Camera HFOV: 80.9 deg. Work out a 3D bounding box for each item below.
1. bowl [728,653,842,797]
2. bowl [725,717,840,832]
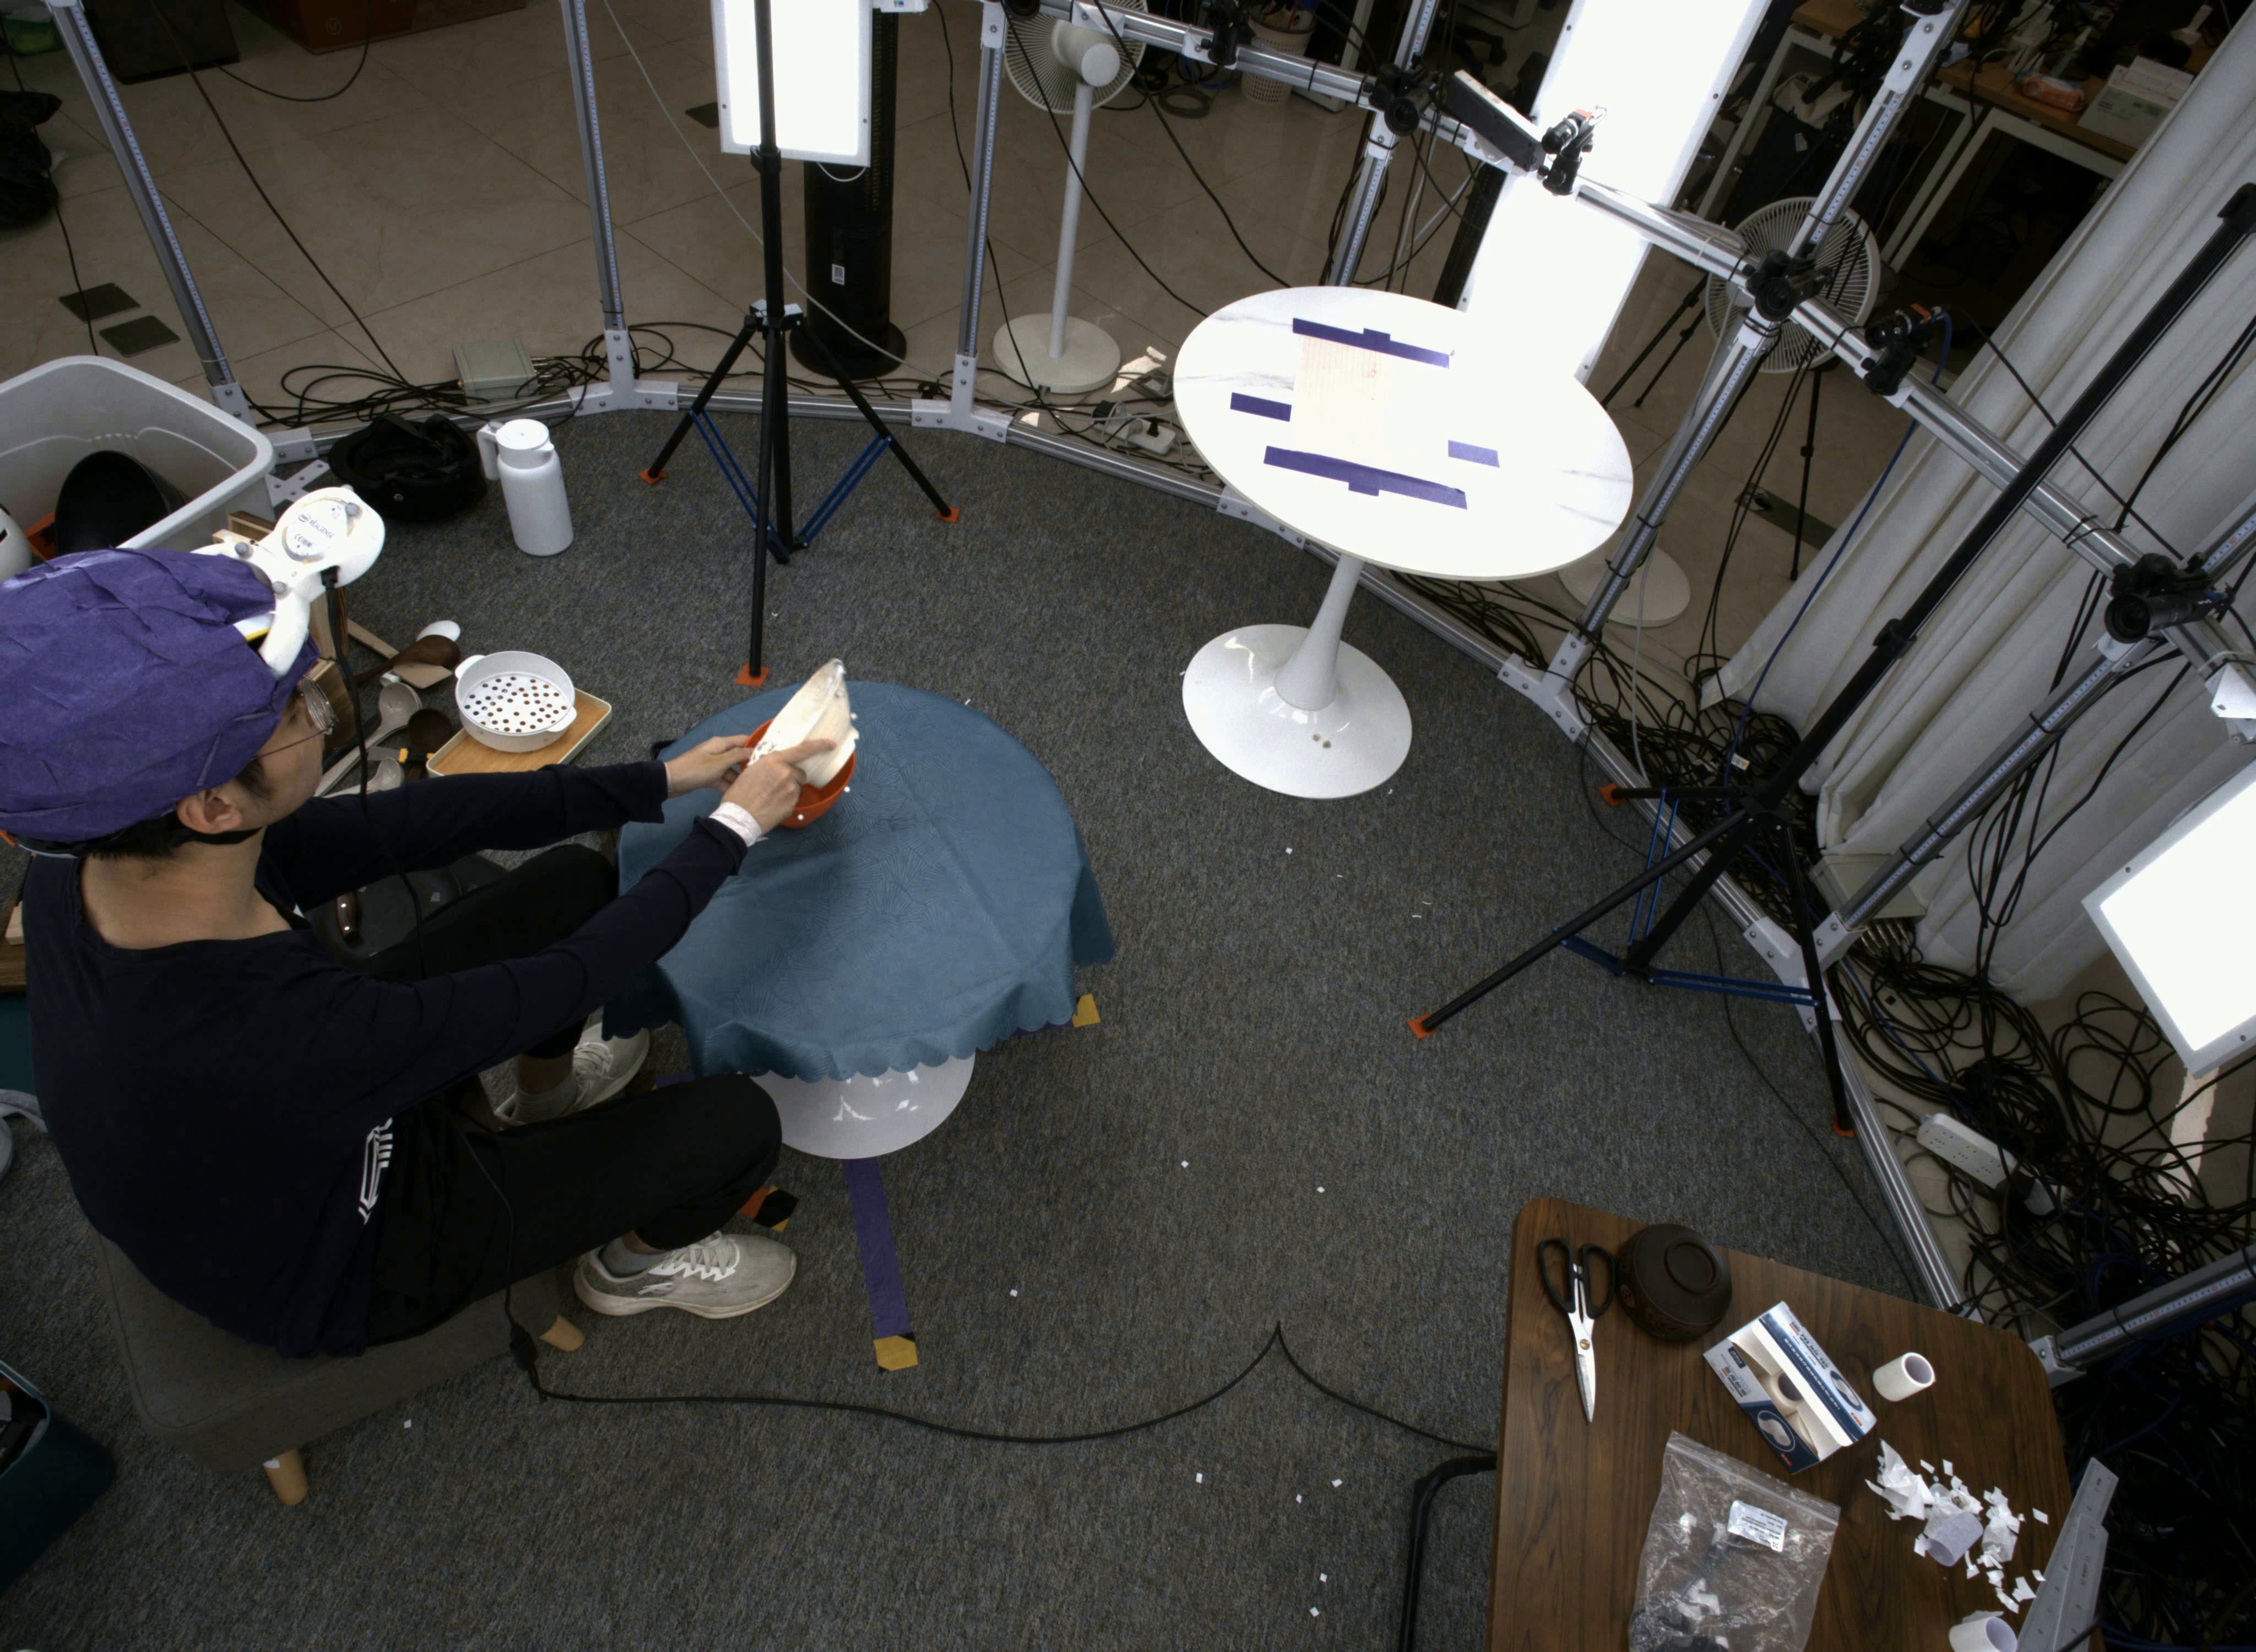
[{"bbox_3d":[-0.414,-0.108,1.617,0.080,0.202,0.201,32,47,-23],"label":"bowl"},{"bbox_3d":[-0.452,-0.058,1.707,0.147,0.107,0.145,6,54,-7],"label":"bowl"}]
